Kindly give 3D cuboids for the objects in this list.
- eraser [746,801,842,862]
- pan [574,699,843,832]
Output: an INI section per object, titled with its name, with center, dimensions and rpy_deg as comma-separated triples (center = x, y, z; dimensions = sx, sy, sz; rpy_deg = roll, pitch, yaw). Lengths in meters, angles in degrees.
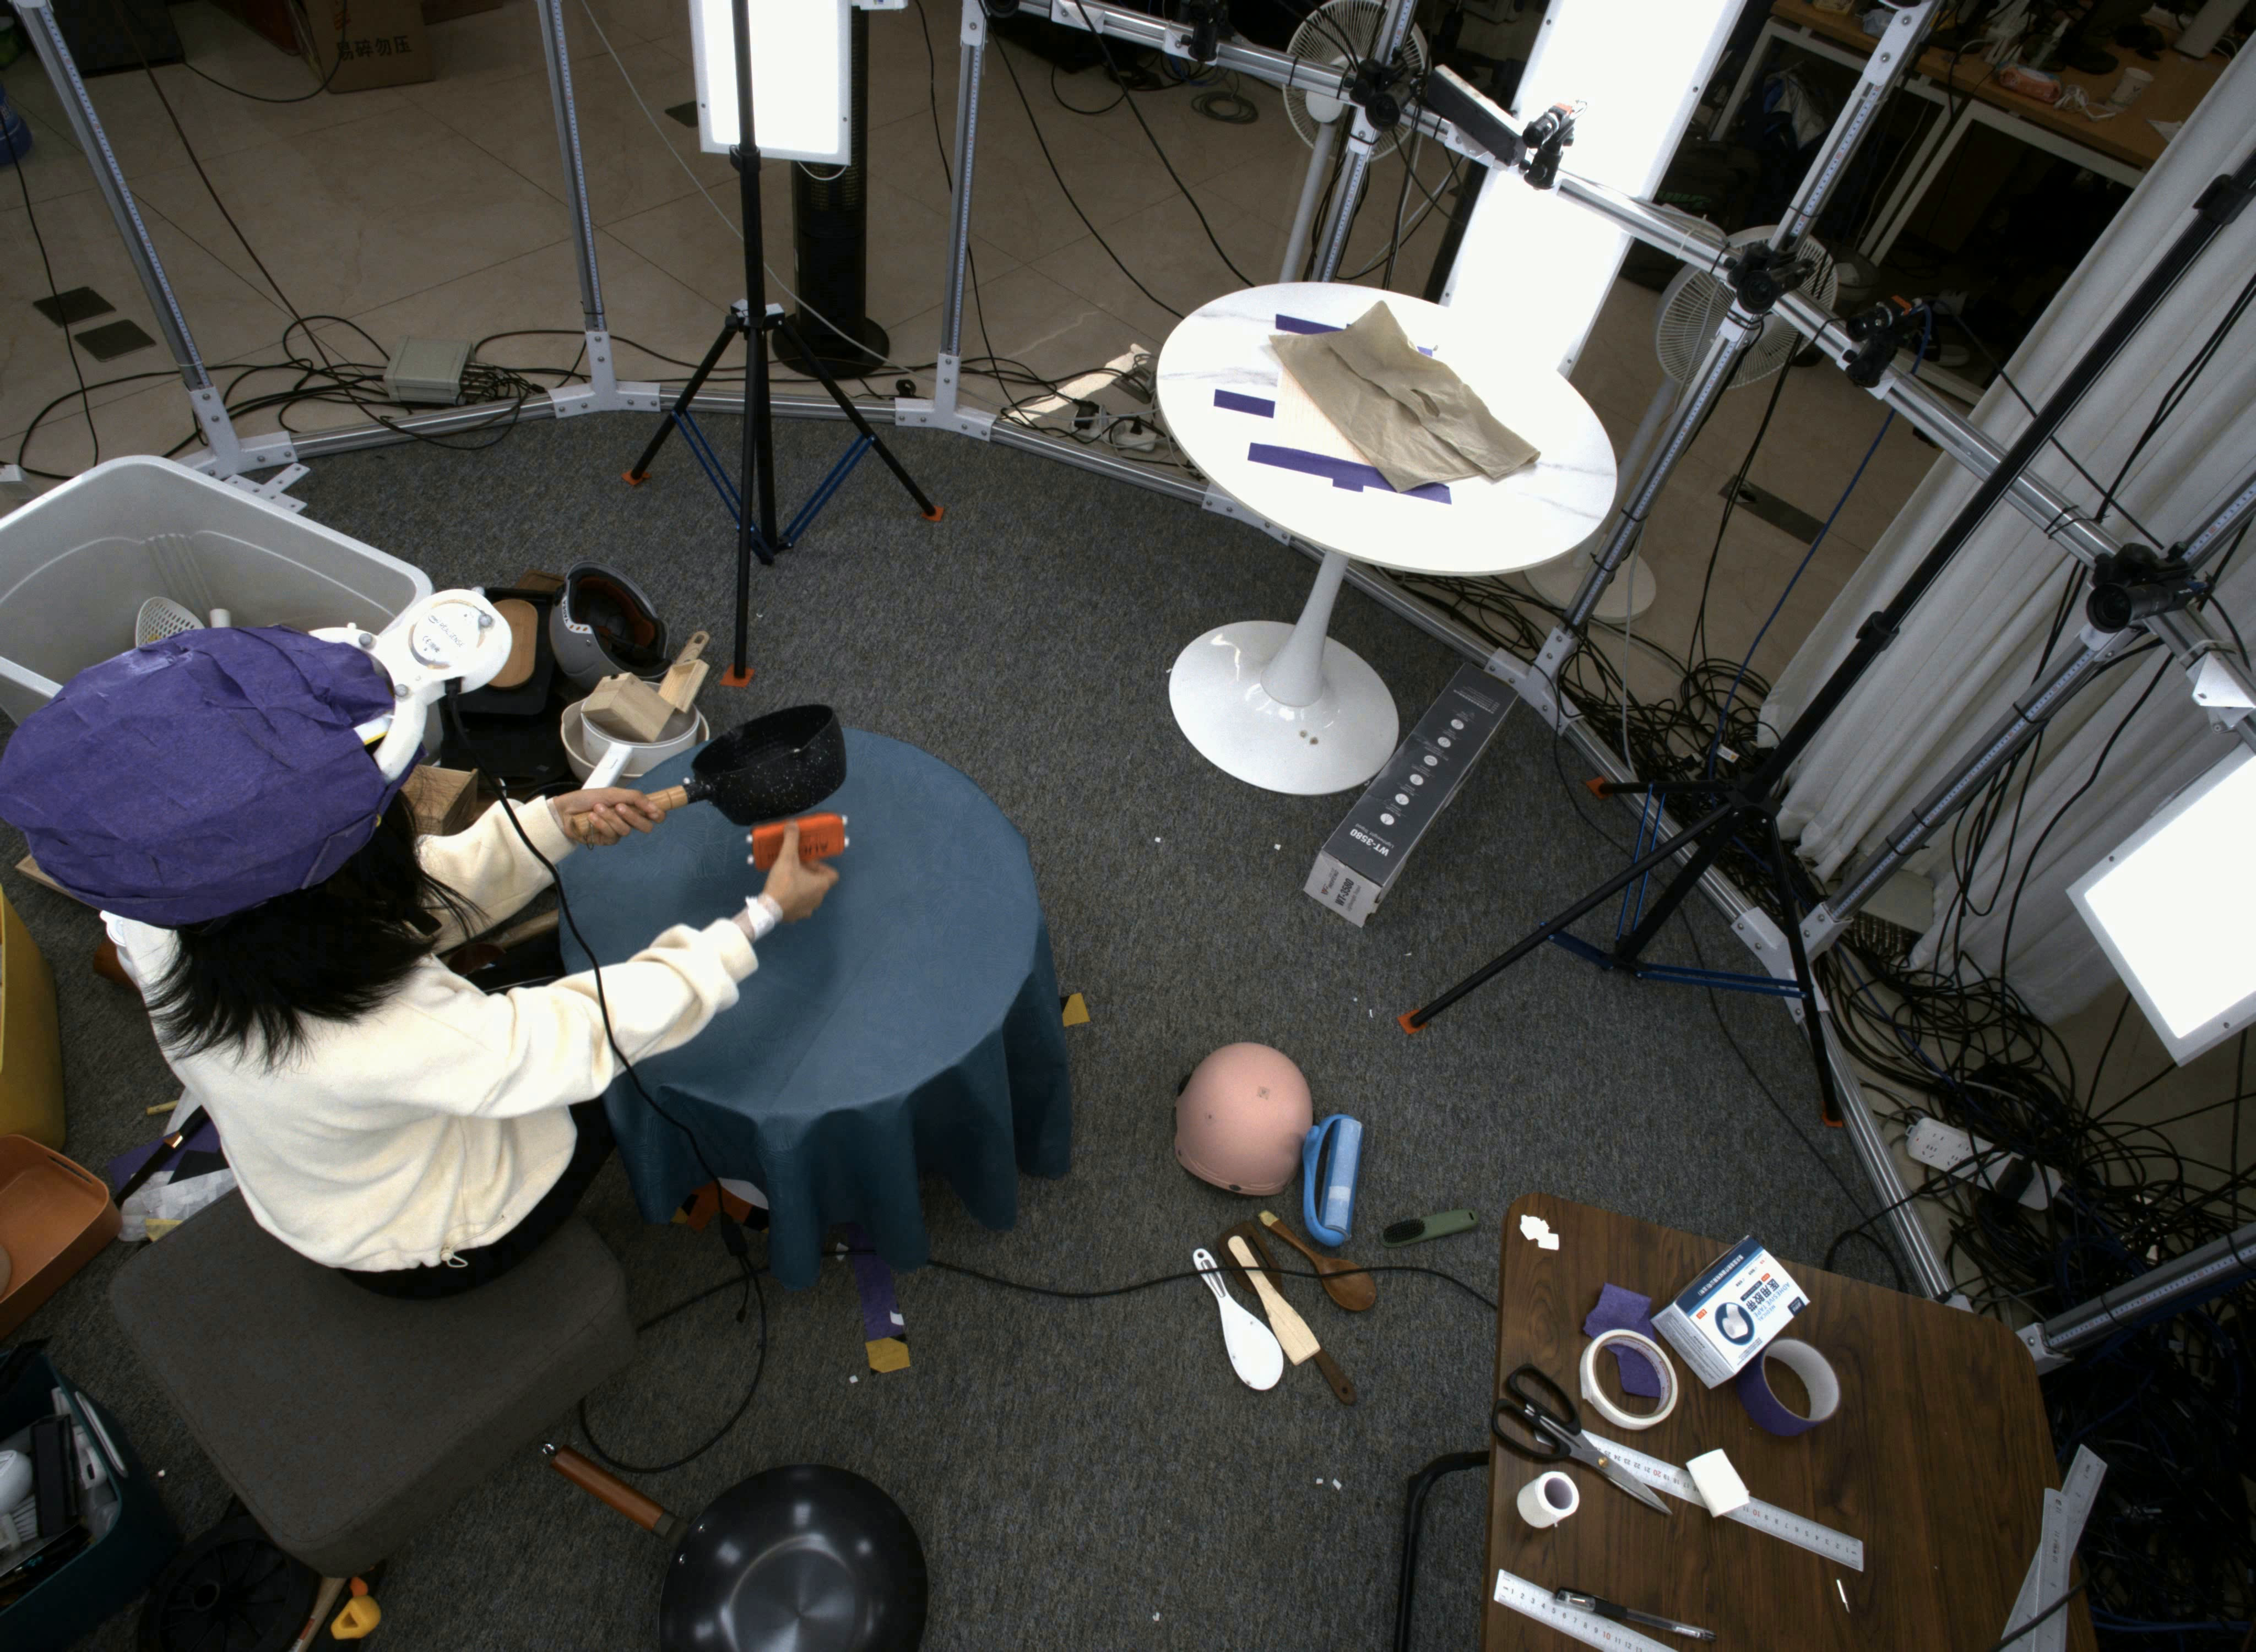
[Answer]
[eraser]
center = -0.393, 0.005, 1.528
dimensions = 0.108, 0.060, 0.022
rpy_deg = -13, 48, -24
[pan]
center = -0.492, -0.046, 1.532
dimensions = 0.344, 0.112, 0.200
rpy_deg = -34, 31, -33
